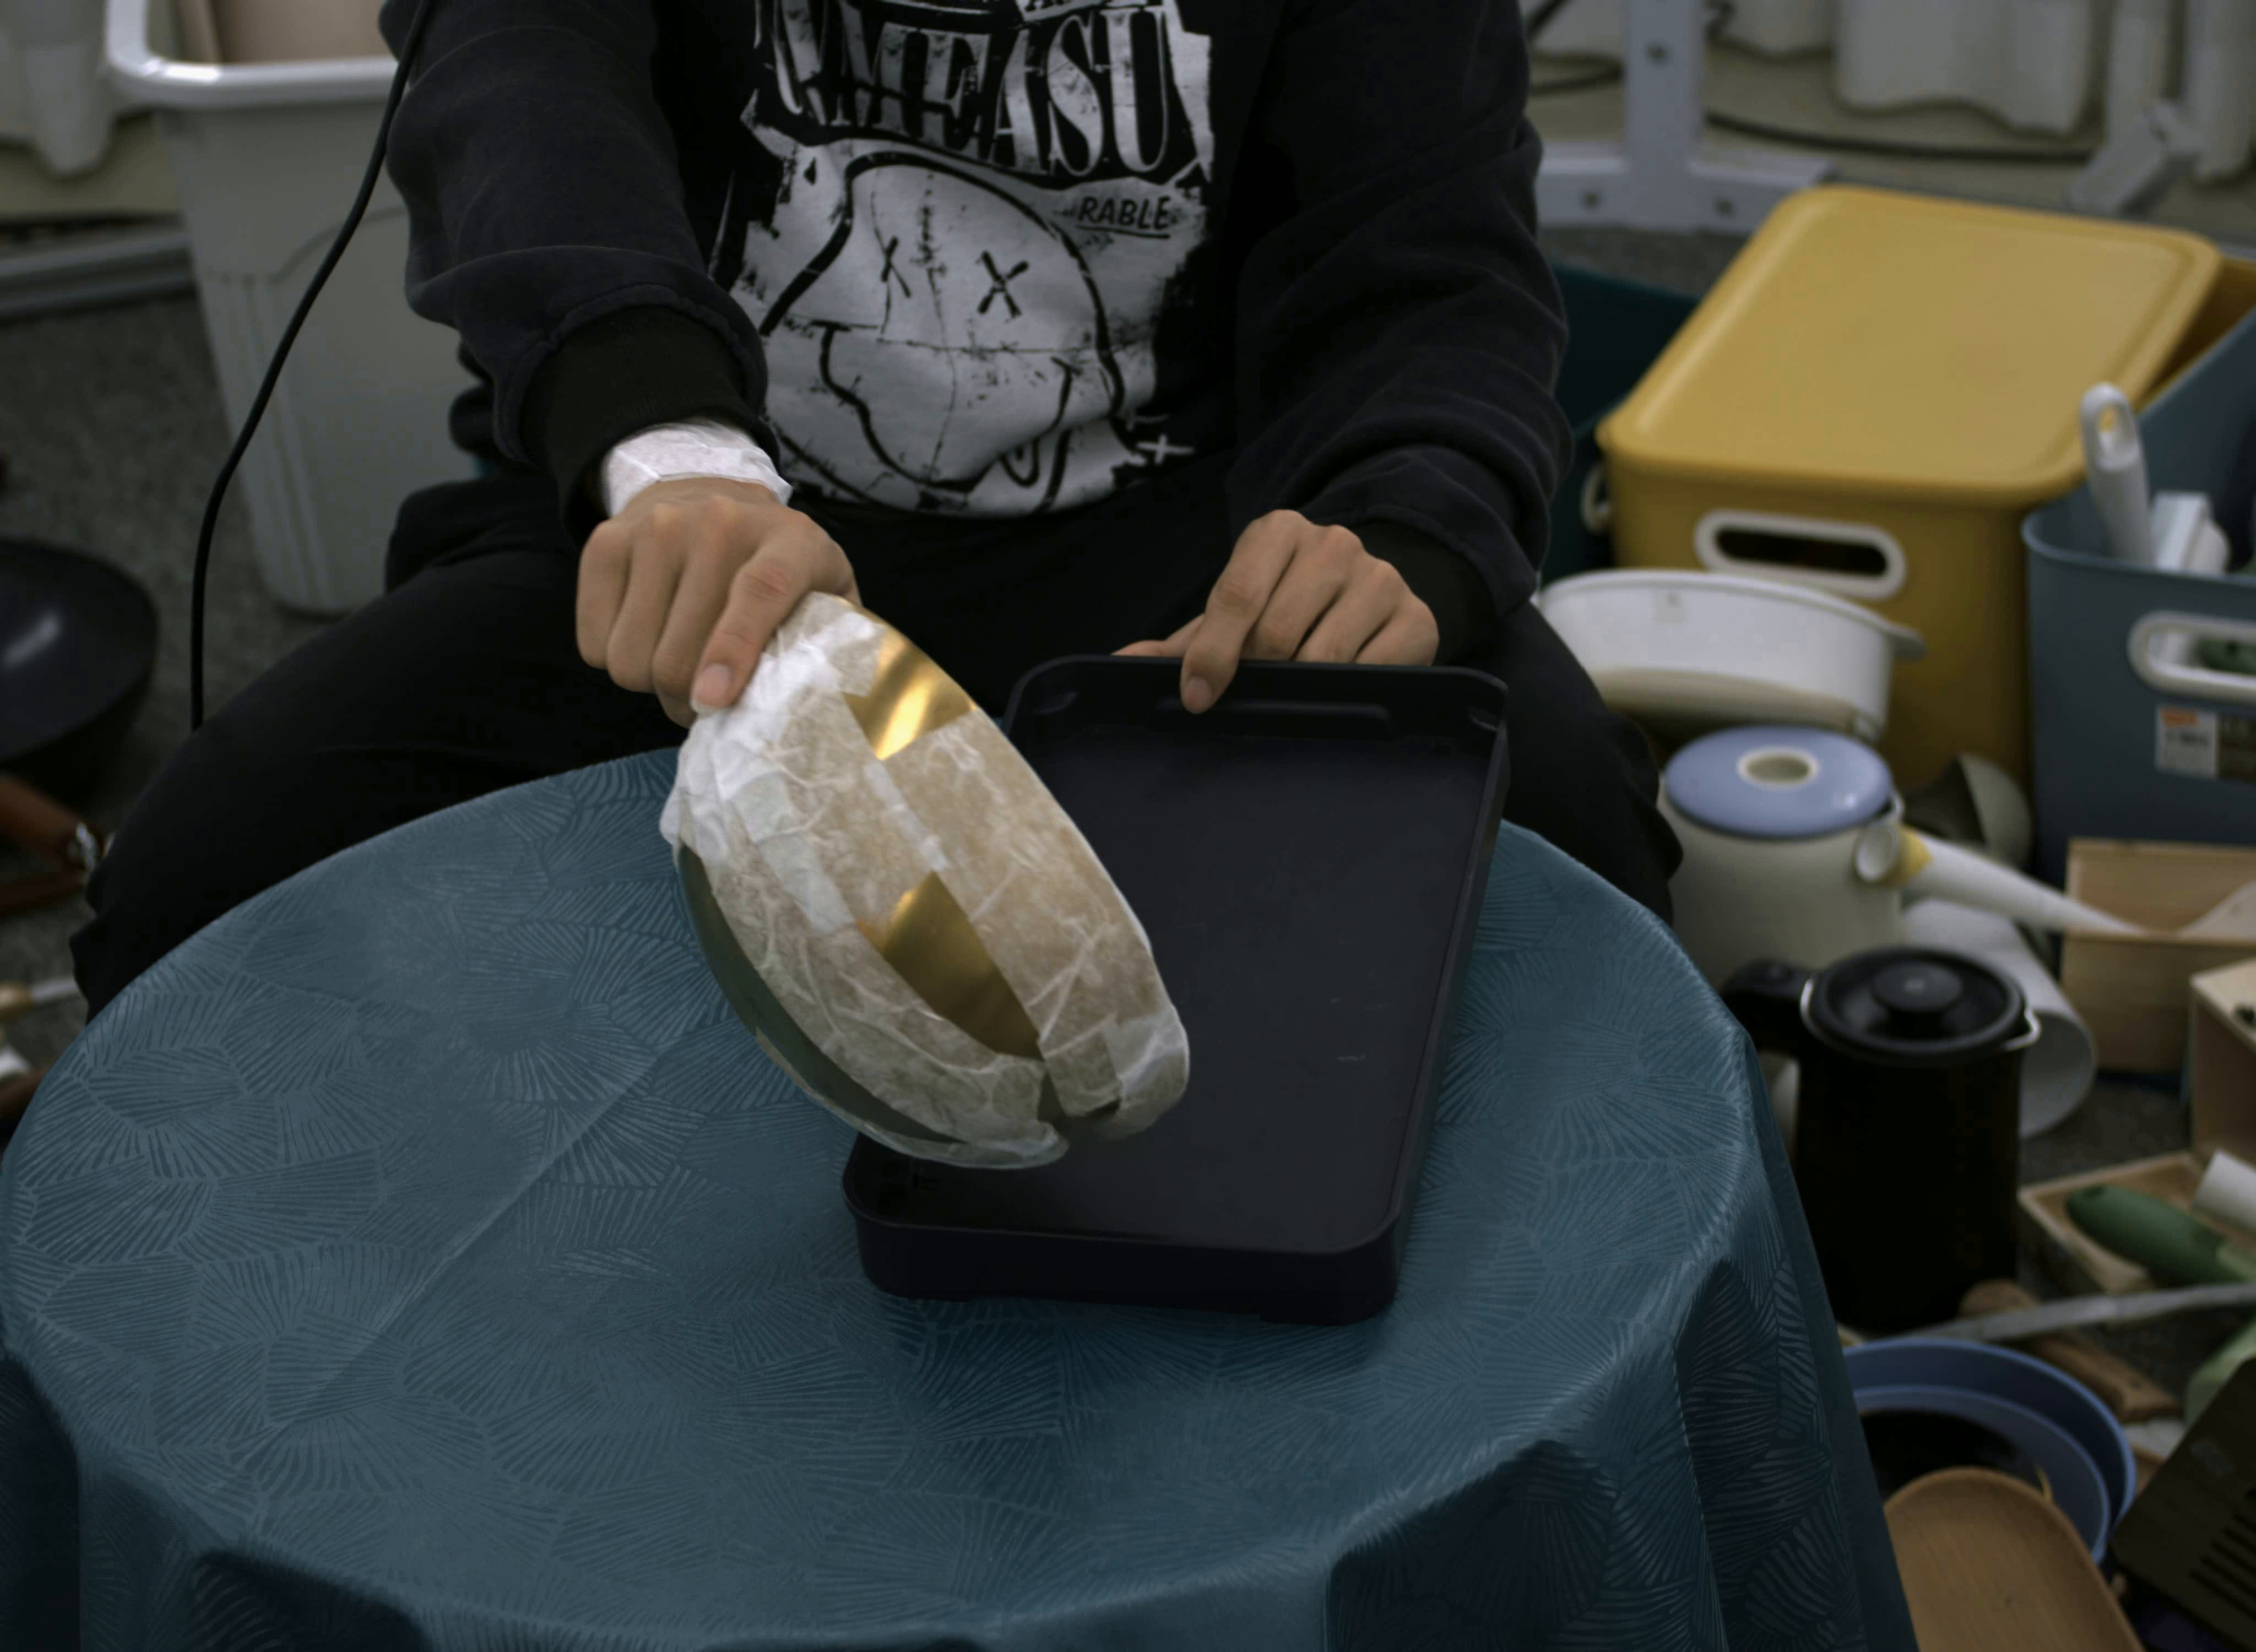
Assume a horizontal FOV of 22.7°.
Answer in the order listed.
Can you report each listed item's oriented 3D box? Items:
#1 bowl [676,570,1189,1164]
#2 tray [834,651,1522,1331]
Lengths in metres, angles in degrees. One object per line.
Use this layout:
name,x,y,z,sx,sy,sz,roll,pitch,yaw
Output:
bowl,-0.079,0.031,1.764,0.095,0.212,0.215,-36,37,-15
tray,0.024,0.049,1.910,0.183,0.036,0.324,4,37,12
